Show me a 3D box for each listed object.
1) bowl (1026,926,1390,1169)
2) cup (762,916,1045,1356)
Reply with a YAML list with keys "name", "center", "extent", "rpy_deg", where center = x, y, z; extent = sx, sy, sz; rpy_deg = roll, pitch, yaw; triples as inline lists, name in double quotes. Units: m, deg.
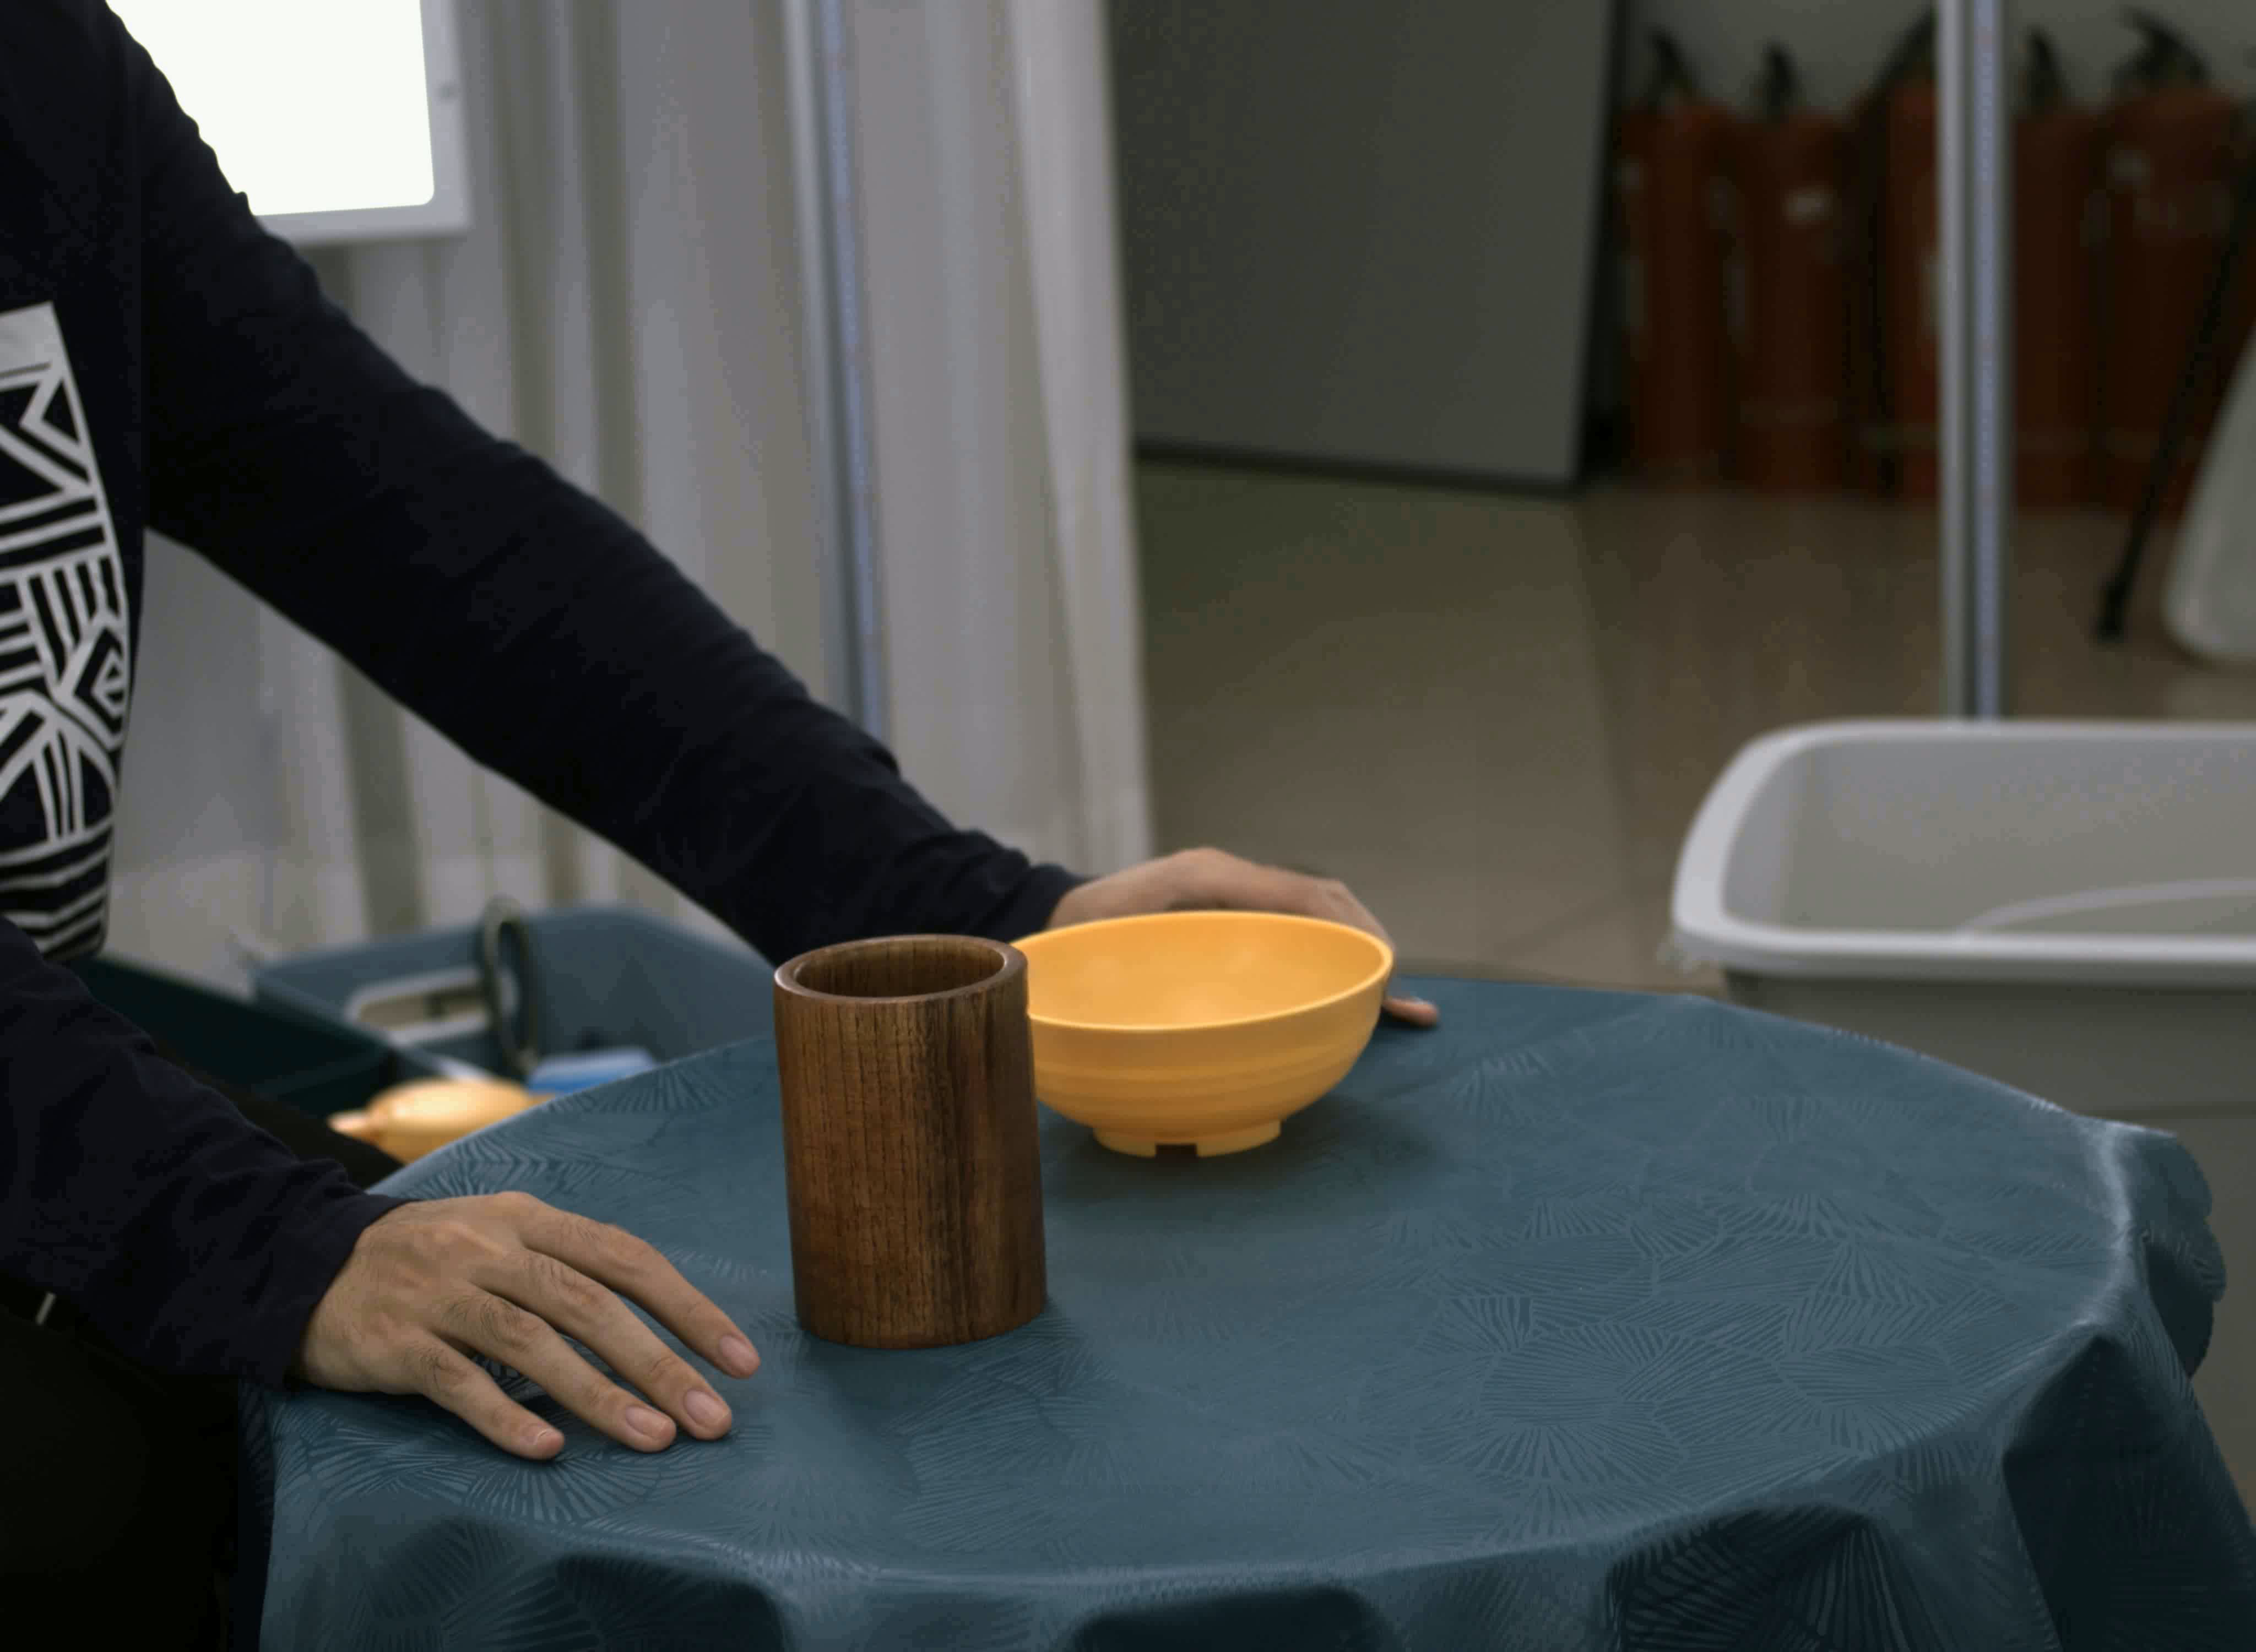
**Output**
- name: "bowl"
  center: [0.020, 0.078, 1.828]
  extent: [0.143, 0.061, 0.145]
  rpy_deg: [-5, 12, 0]
- name: "cup"
  center: [-0.069, 0.094, 1.659]
  extent: [0.086, 0.120, 0.088]
  rpy_deg: [-3, 12, 0]
